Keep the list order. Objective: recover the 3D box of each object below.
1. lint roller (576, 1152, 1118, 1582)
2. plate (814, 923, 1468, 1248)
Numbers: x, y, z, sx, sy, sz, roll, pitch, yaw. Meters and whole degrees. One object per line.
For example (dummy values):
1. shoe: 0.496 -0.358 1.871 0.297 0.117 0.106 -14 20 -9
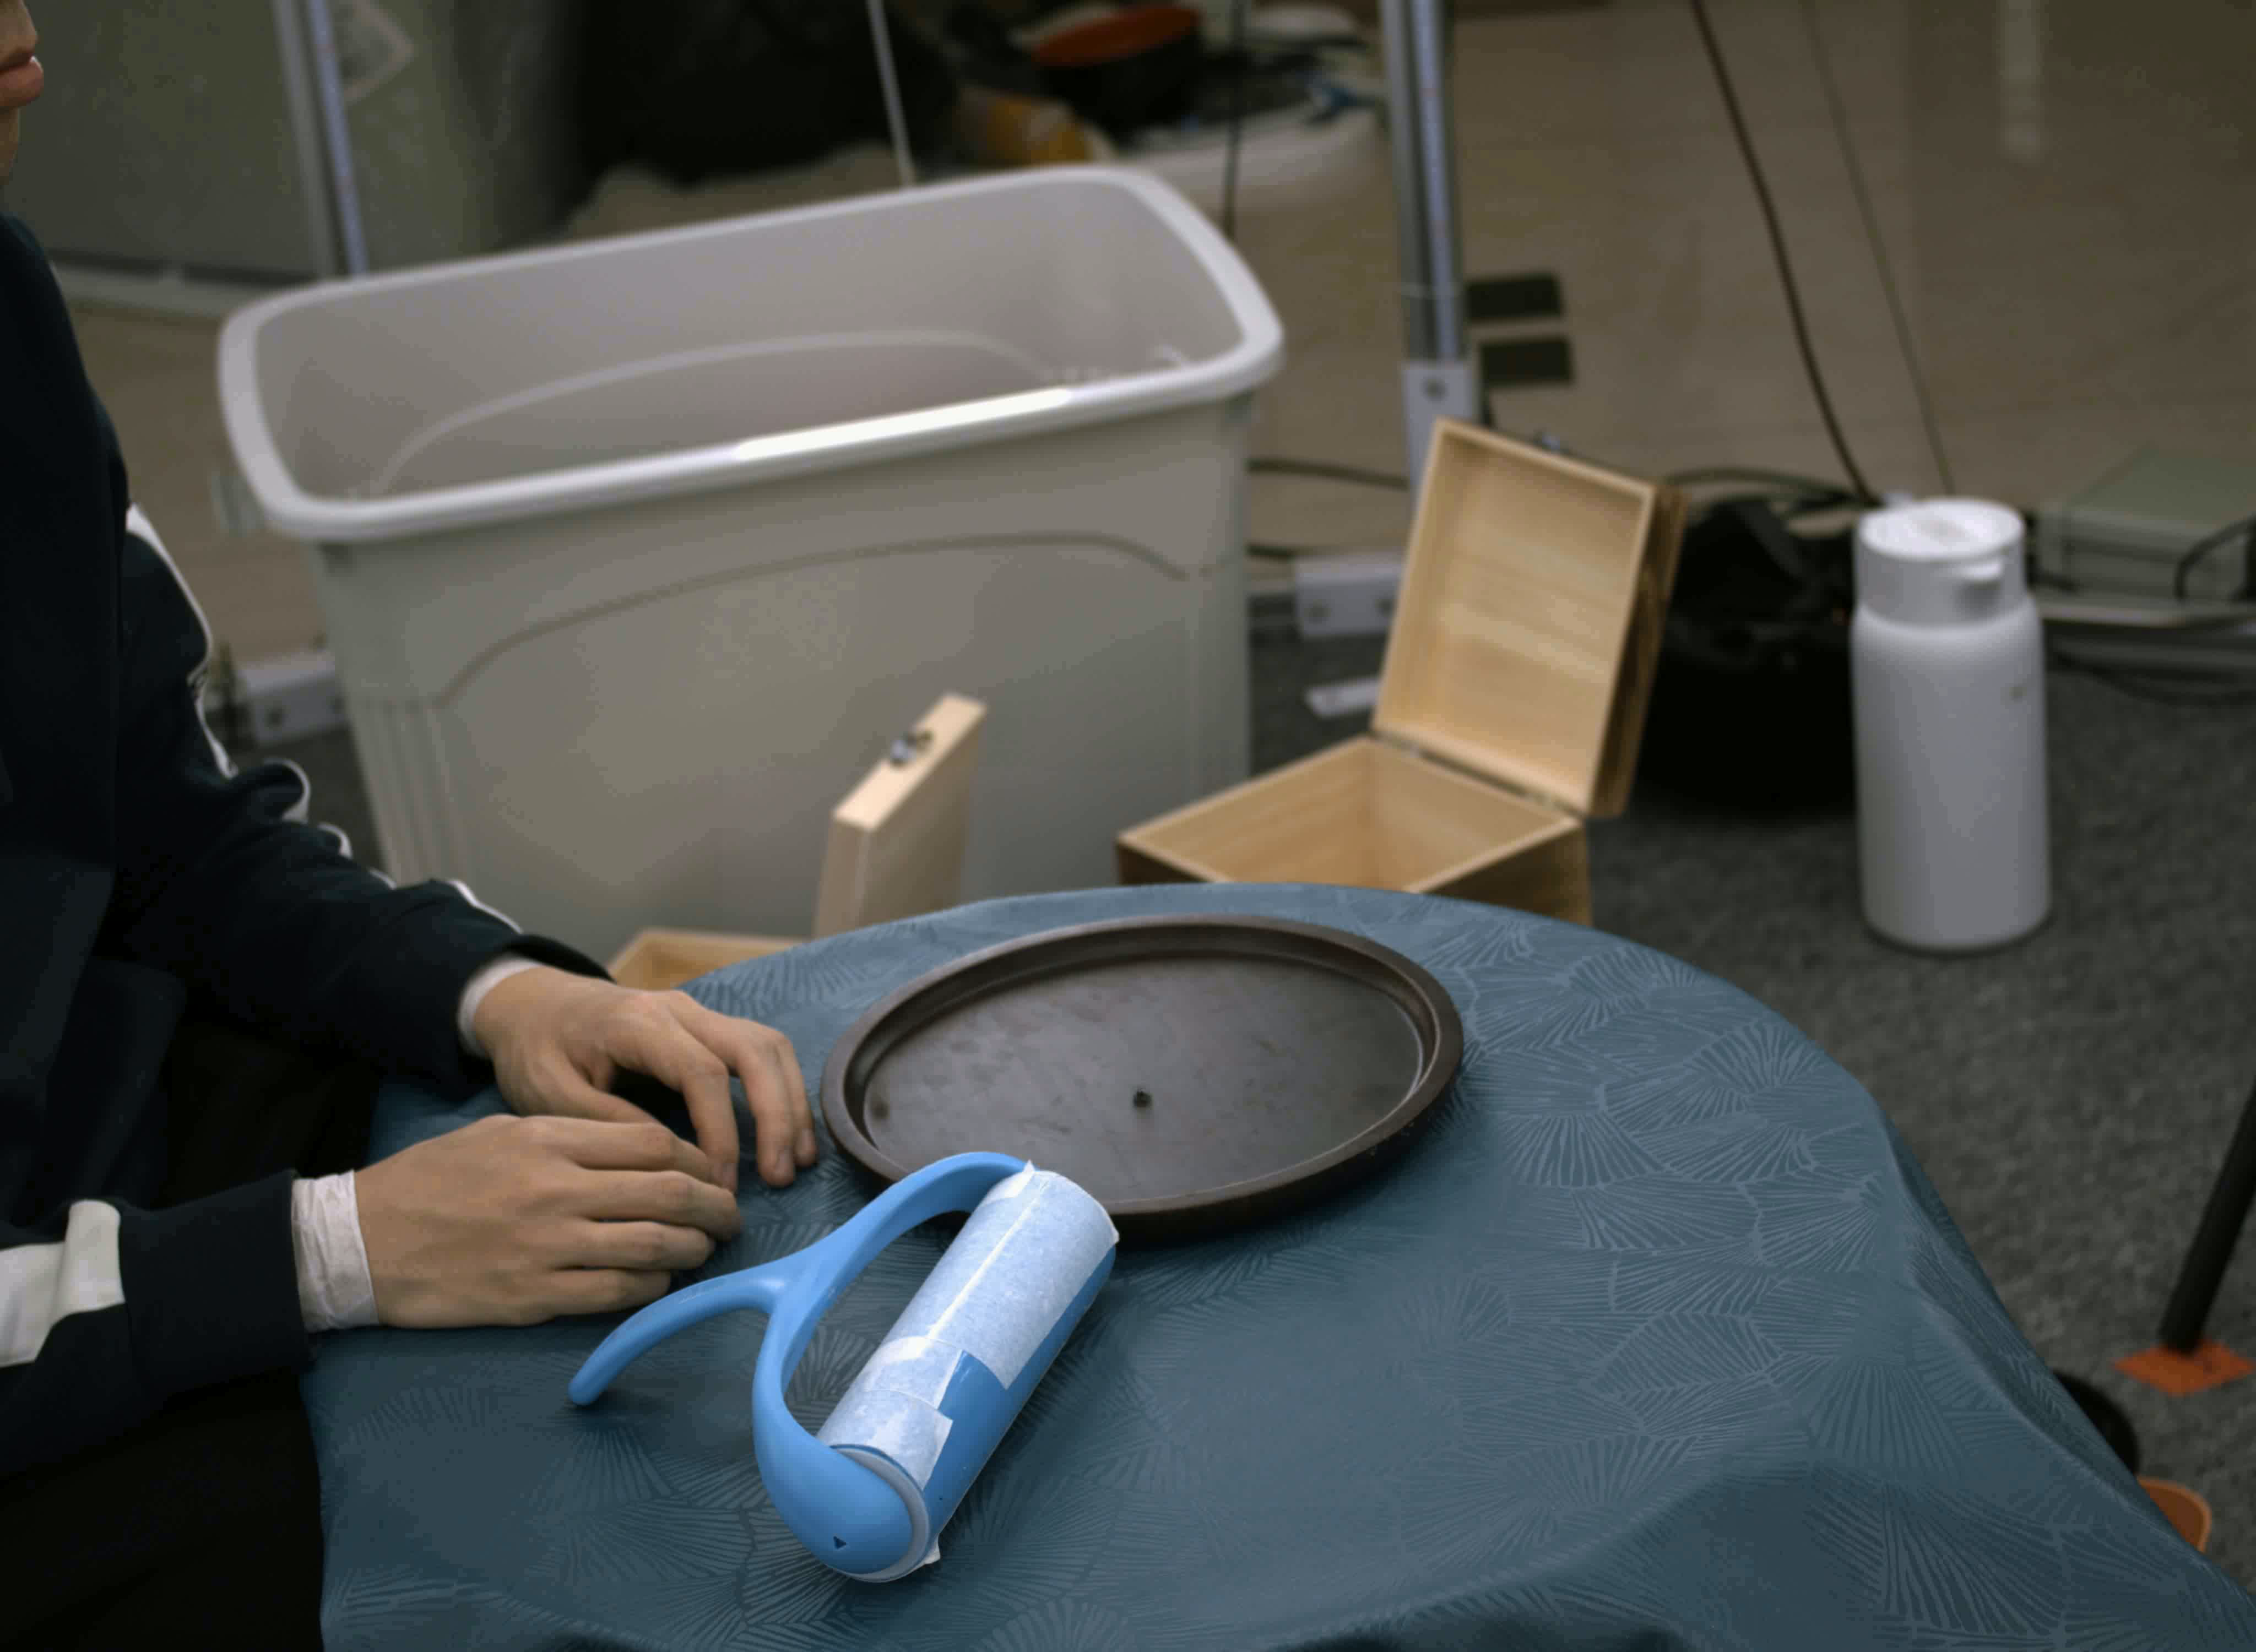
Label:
1. lint roller: -0.115 0.186 2.003 0.180 0.069 0.225 3 29 16
2. plate: 0.006 0.099 2.202 0.254 0.029 0.251 -4 25 2
